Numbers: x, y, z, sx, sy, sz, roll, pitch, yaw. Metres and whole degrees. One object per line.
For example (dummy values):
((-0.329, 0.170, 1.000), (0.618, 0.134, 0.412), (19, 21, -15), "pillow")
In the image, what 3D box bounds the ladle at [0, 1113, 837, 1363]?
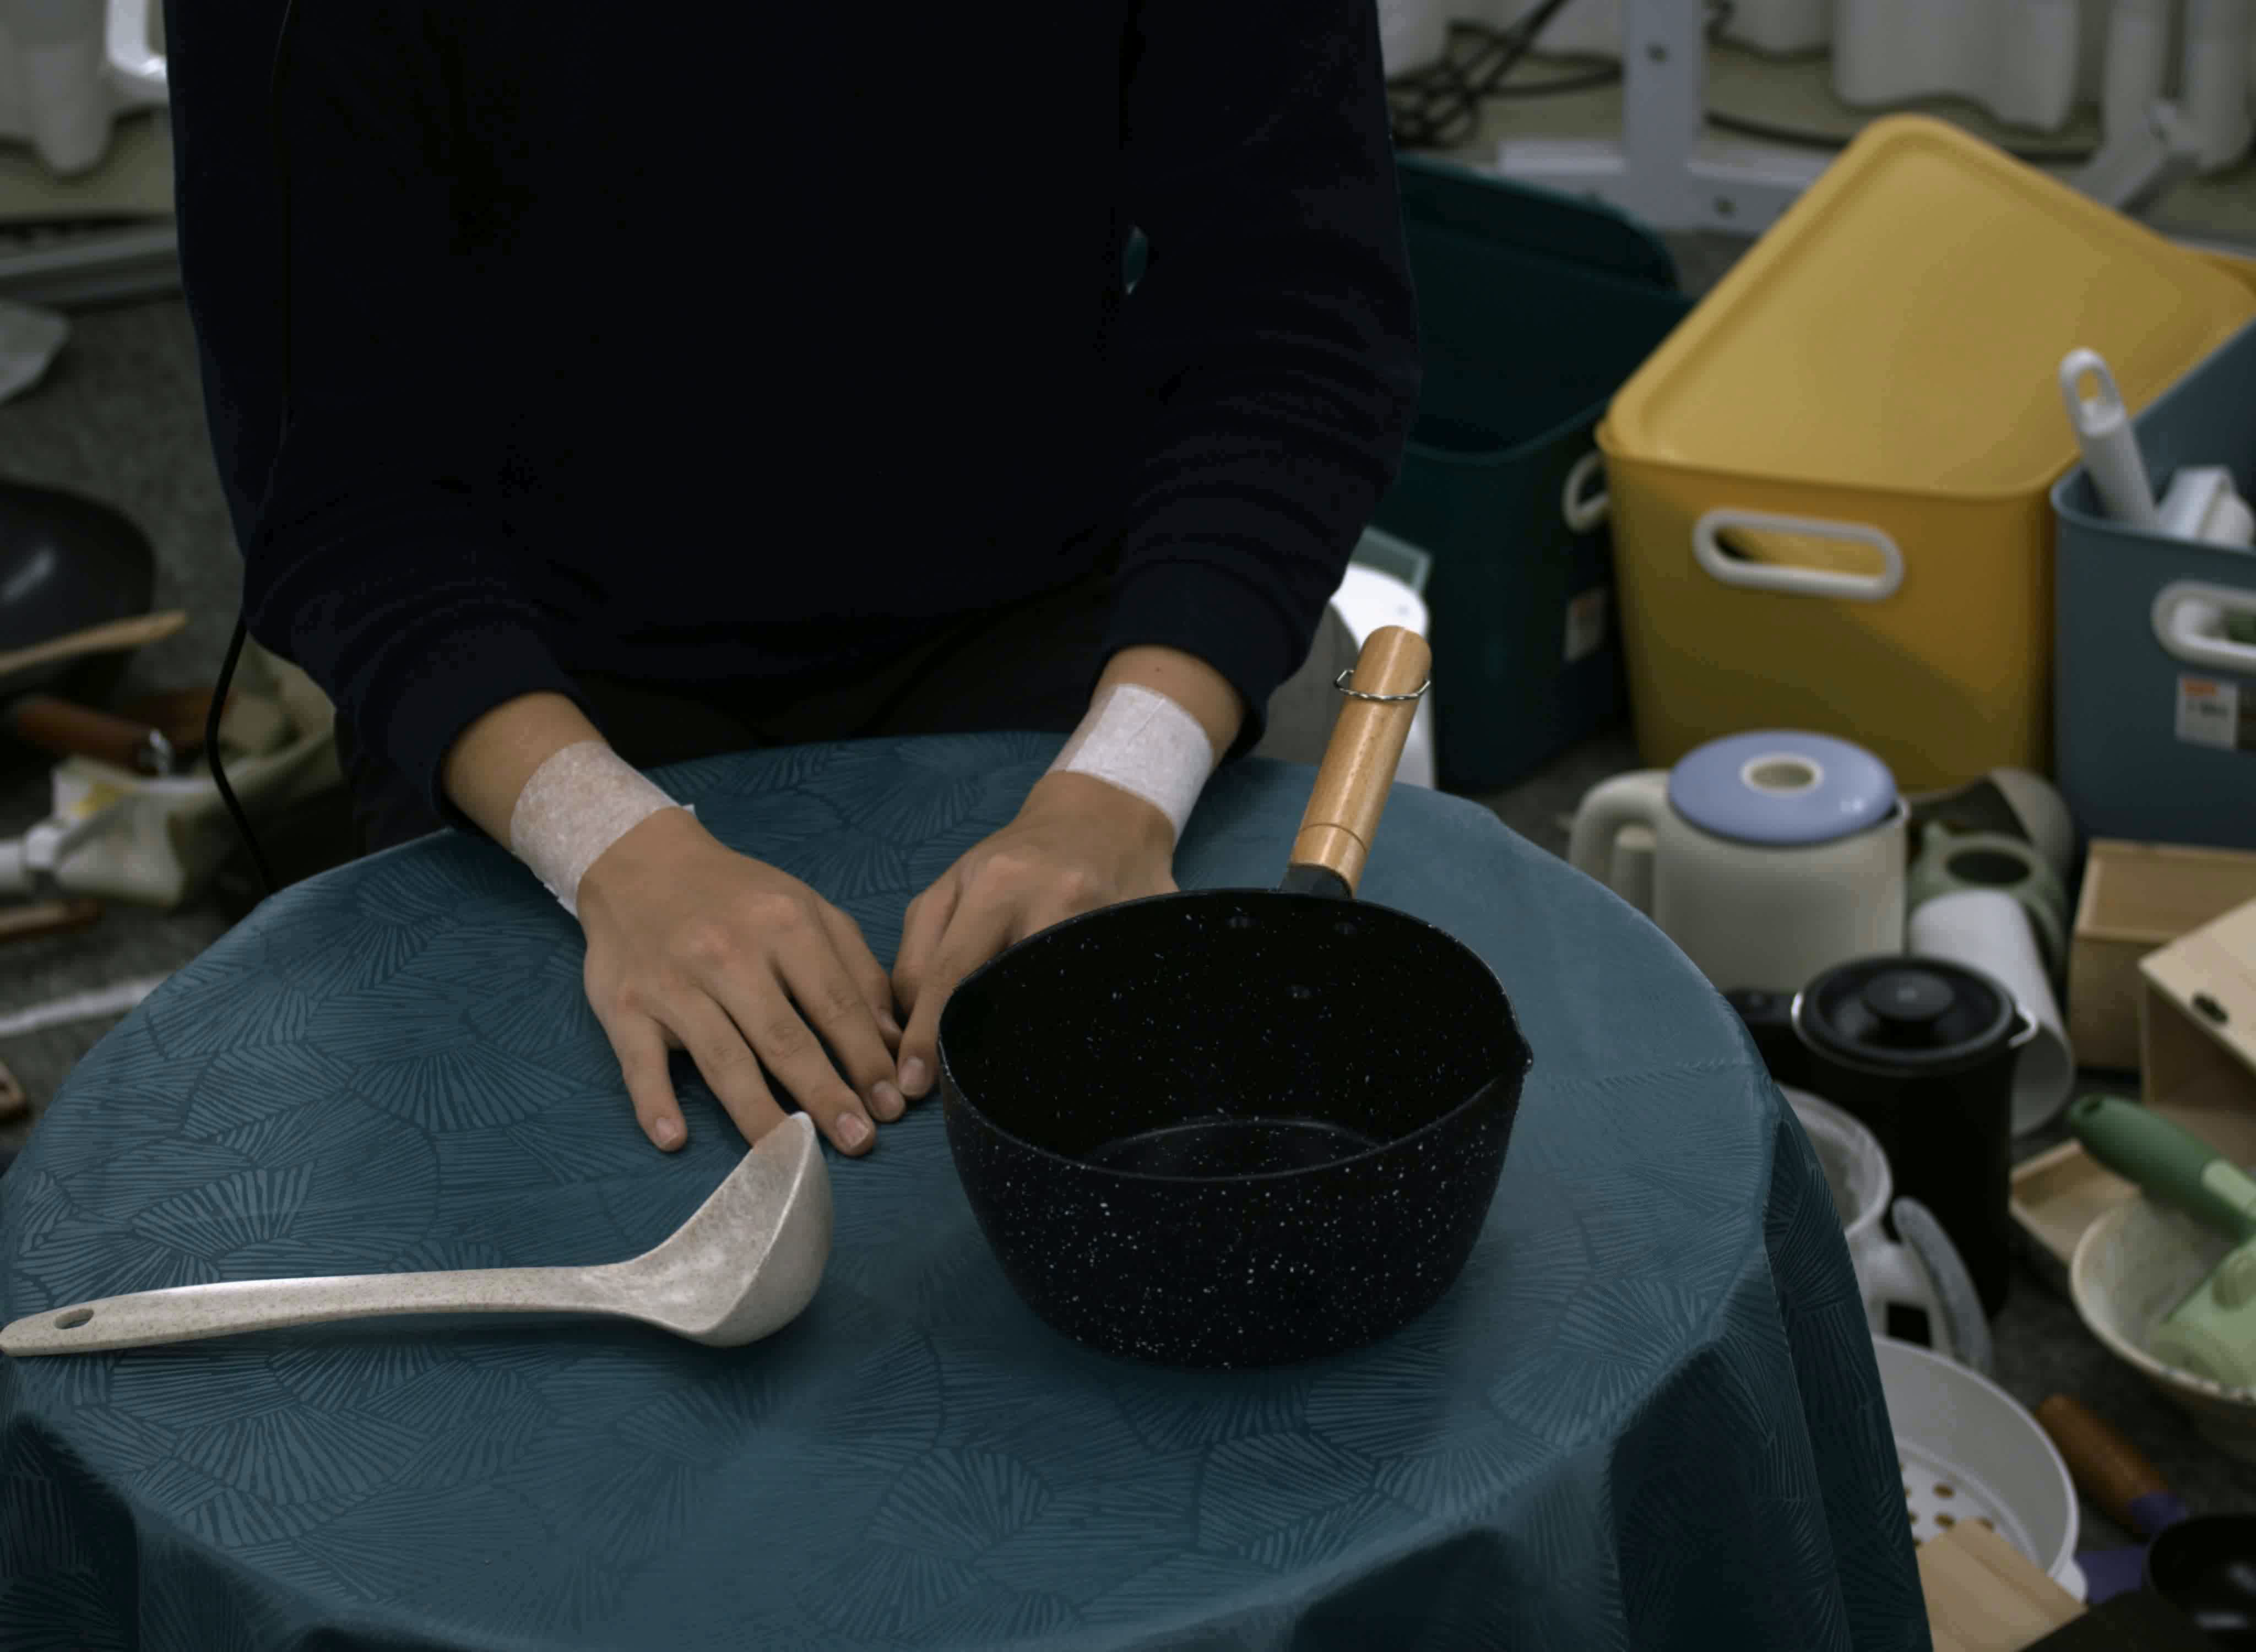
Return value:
((-0.229, 0.134, 1.789), (0.273, 0.068, 0.091), (-2, 34, 2), "ladle")

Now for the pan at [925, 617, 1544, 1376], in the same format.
((0.052, 0.053, 1.873), (0.206, 0.107, 0.349), (3, 29, 14), "pan")
